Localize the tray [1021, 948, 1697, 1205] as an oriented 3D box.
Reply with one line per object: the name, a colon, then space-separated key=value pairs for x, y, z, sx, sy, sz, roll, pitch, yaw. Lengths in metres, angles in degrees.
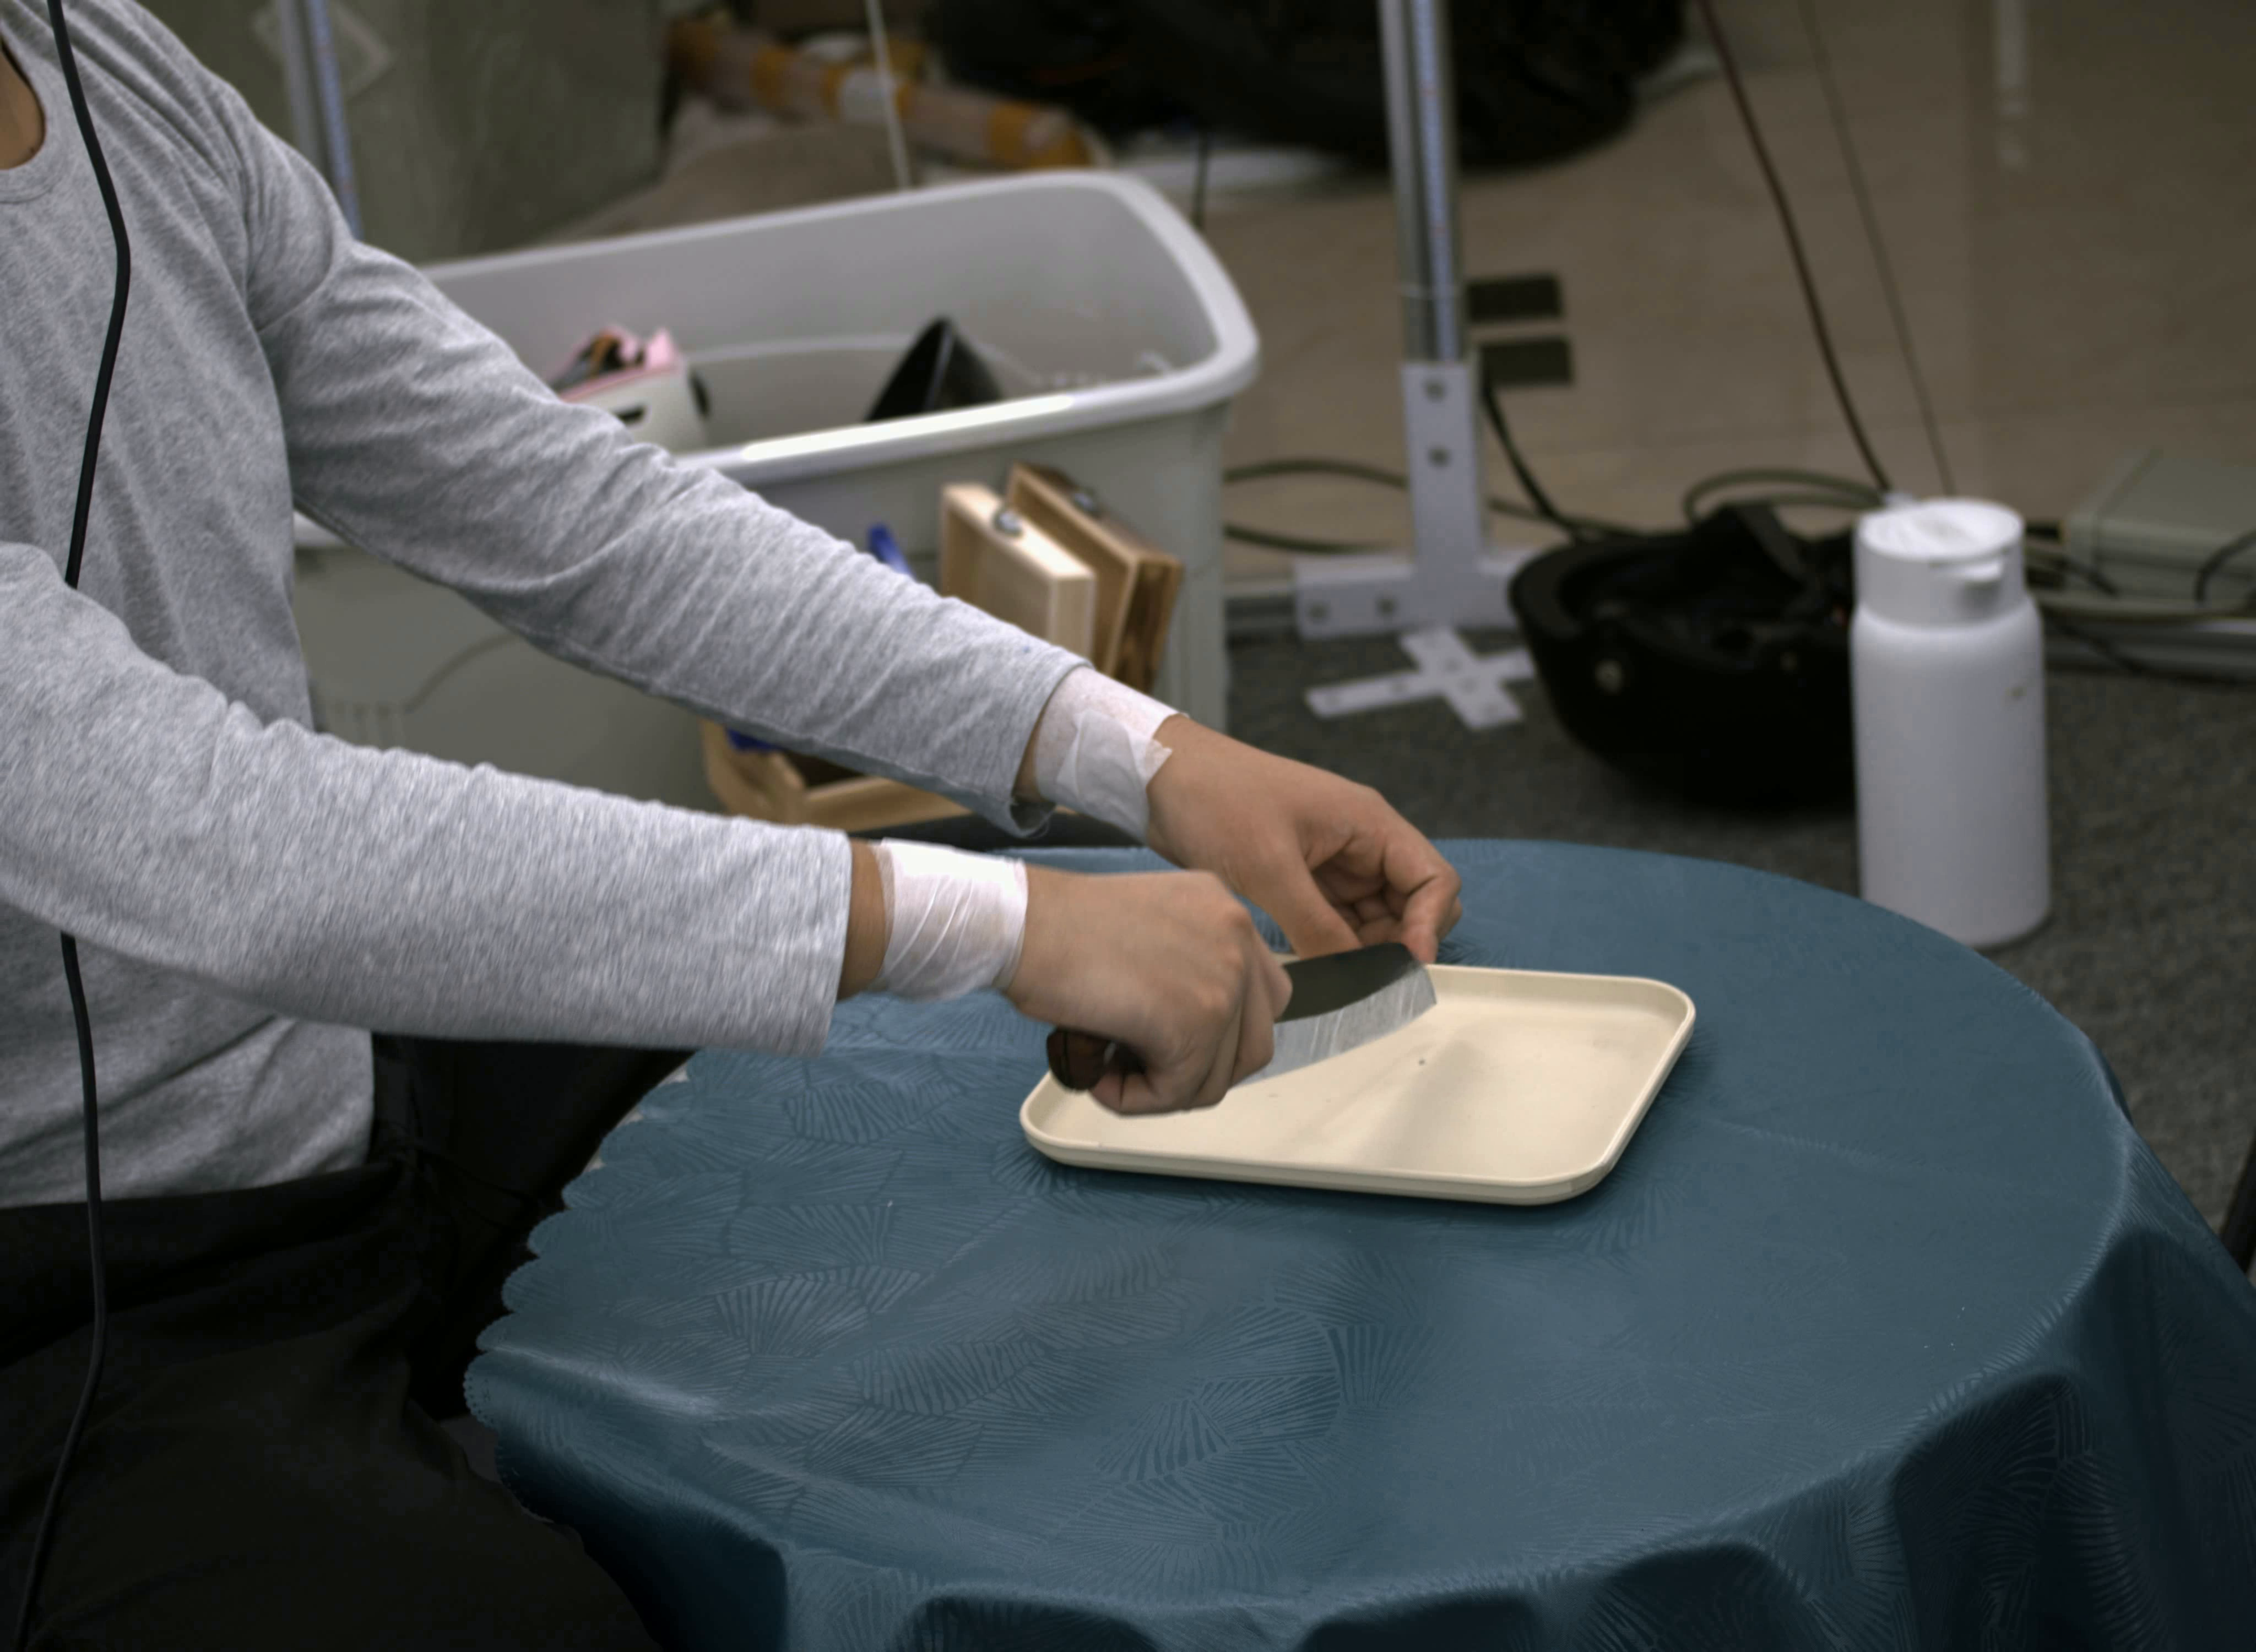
tray: x=0.091 y=0.097 z=2.198 sx=0.239 sy=0.018 sz=0.169 roll=4 pitch=26 yaw=22

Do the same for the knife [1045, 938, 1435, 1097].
knife: x=0.048 y=0.073 z=2.103 sx=0.020 sy=0.050 sz=0.288 roll=16 pitch=11 yaw=28
